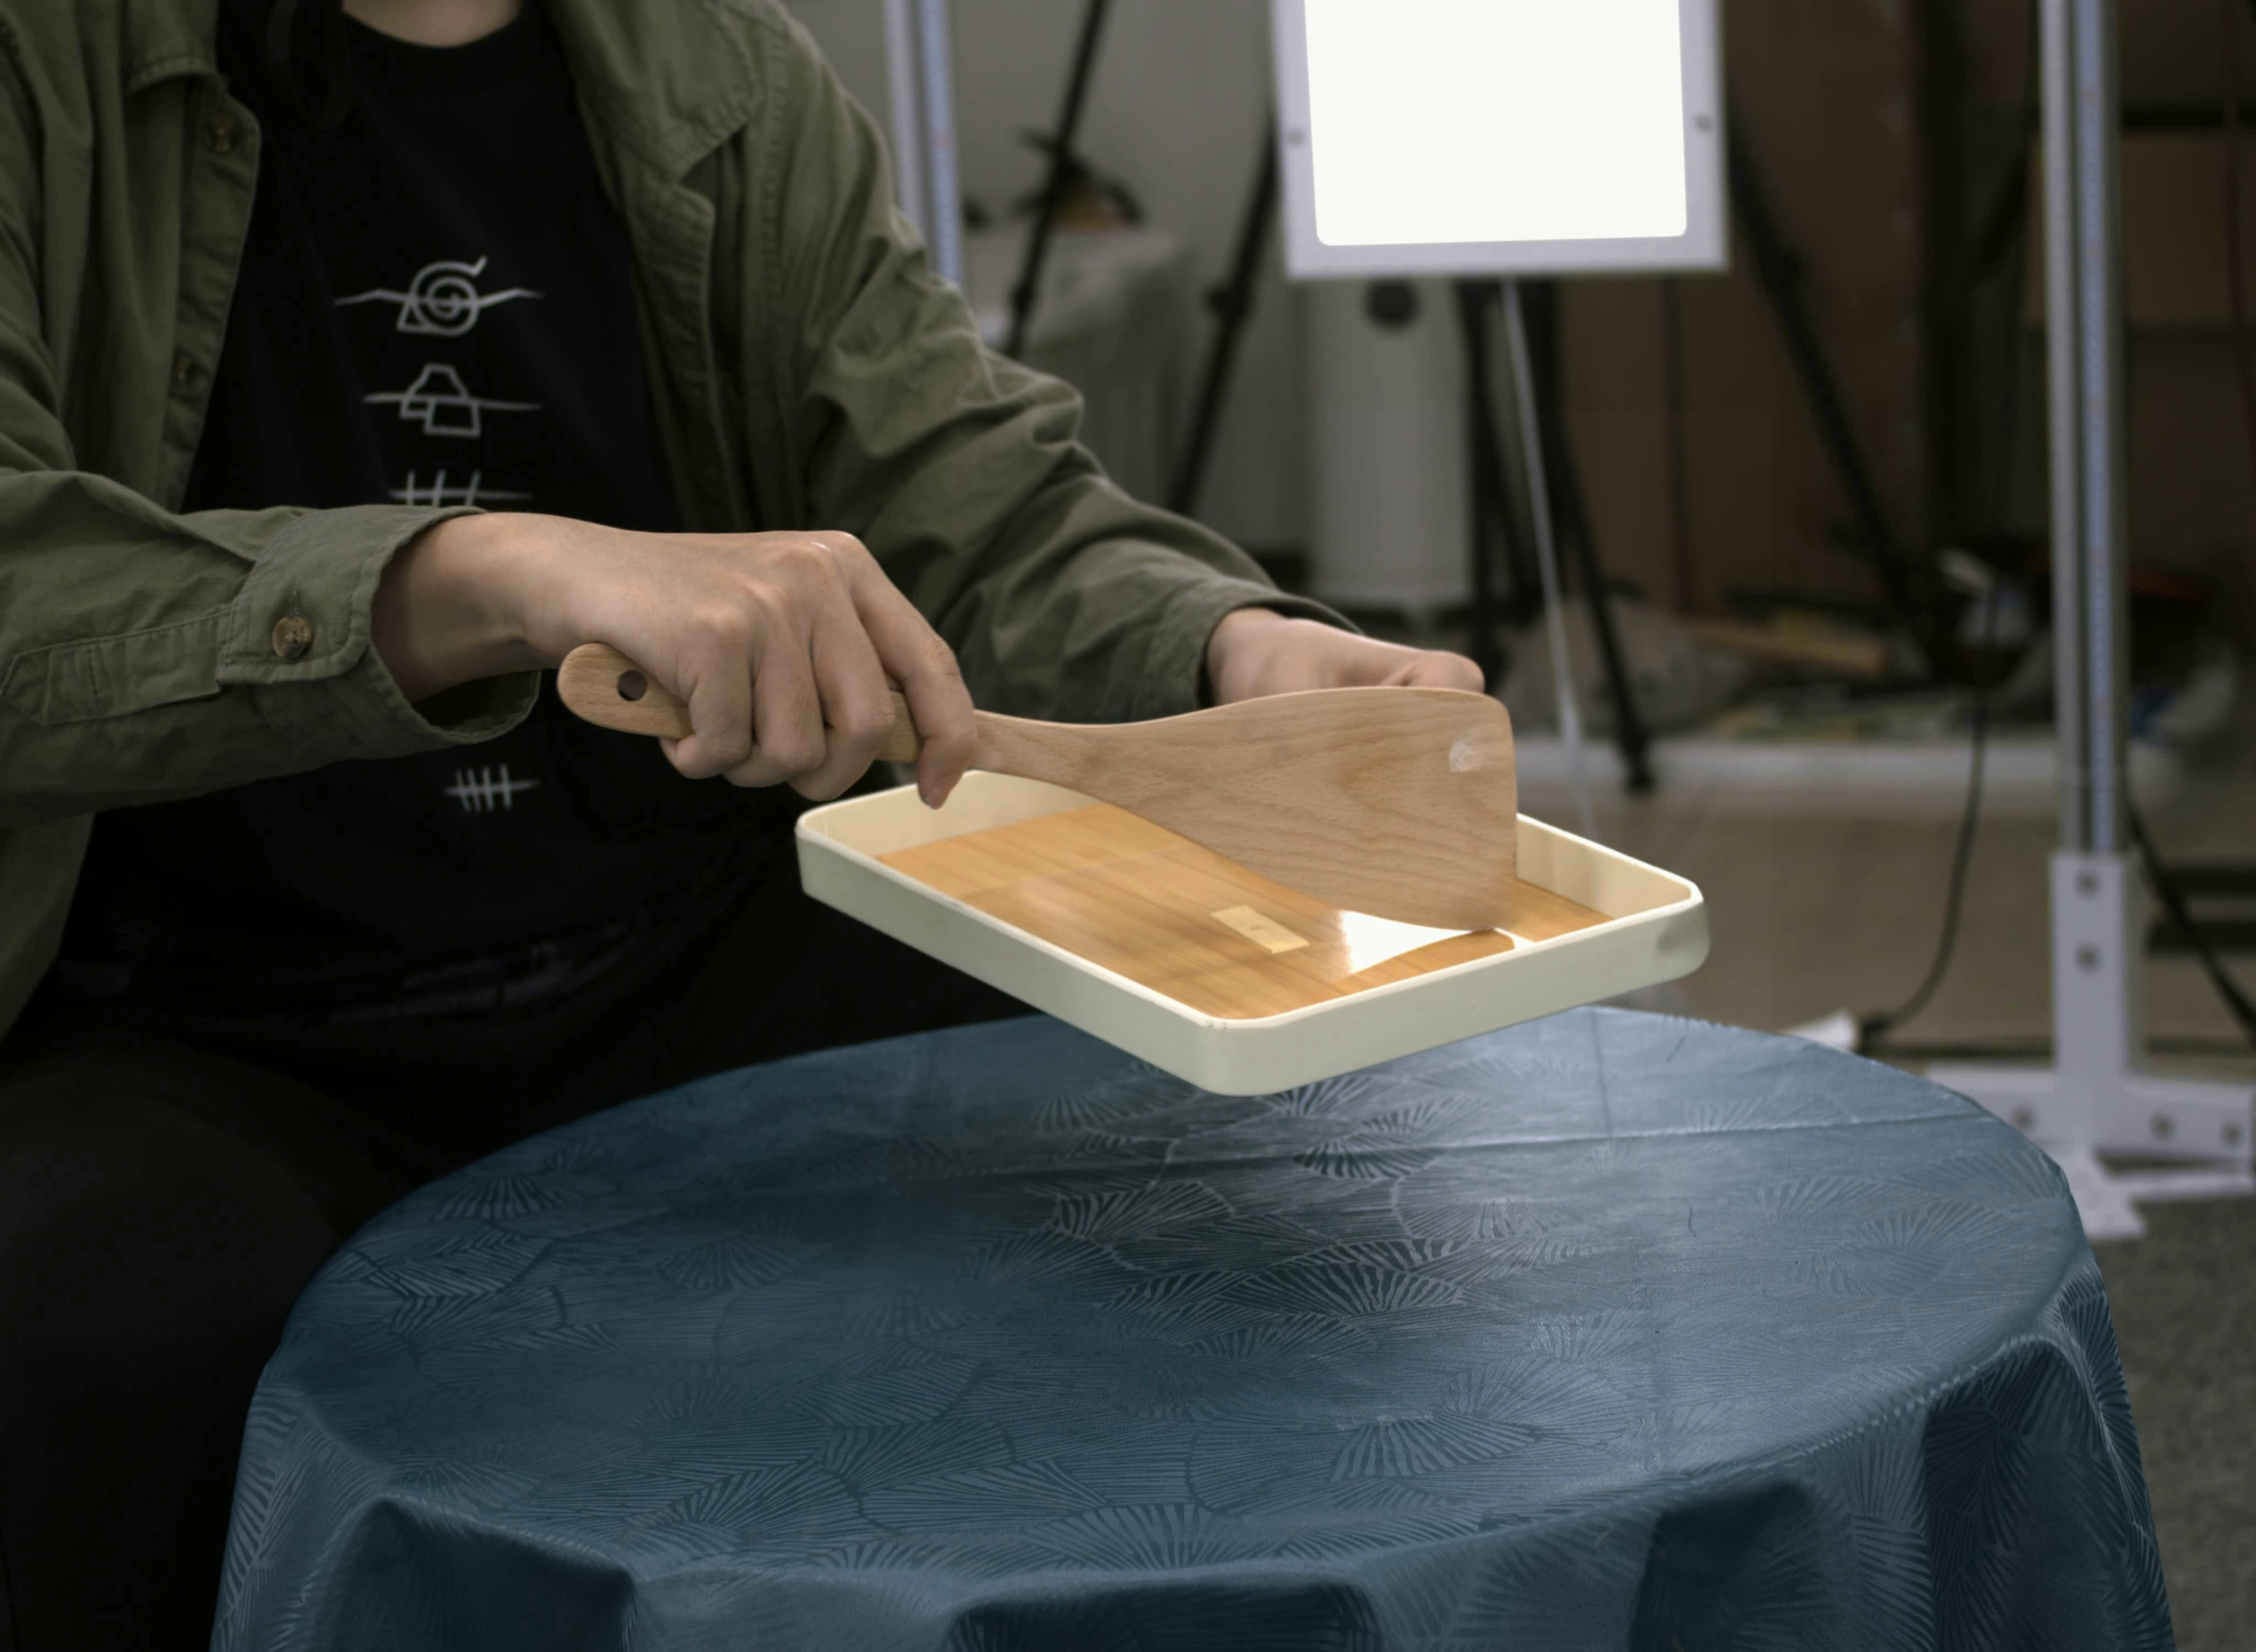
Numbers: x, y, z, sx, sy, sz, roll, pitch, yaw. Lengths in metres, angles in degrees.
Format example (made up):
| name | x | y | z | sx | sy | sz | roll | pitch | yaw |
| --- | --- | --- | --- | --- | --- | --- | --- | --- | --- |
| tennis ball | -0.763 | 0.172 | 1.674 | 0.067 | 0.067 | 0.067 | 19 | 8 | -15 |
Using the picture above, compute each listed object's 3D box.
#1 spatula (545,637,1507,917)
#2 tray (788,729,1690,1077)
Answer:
| name | x | y | z | sx | sy | sz | roll | pitch | yaw |
| --- | --- | --- | --- | --- | --- | --- | --- | --- | --- |
| spatula | -0.027 | -0.028 | 1.760 | 0.322 | 0.080 | 0.017 | 7 | 3 | -17 |
| tray | 0.032 | 0.019 | 1.845 | 0.187 | 0.027 | 0.305 | -14 | 18 | -27 |
